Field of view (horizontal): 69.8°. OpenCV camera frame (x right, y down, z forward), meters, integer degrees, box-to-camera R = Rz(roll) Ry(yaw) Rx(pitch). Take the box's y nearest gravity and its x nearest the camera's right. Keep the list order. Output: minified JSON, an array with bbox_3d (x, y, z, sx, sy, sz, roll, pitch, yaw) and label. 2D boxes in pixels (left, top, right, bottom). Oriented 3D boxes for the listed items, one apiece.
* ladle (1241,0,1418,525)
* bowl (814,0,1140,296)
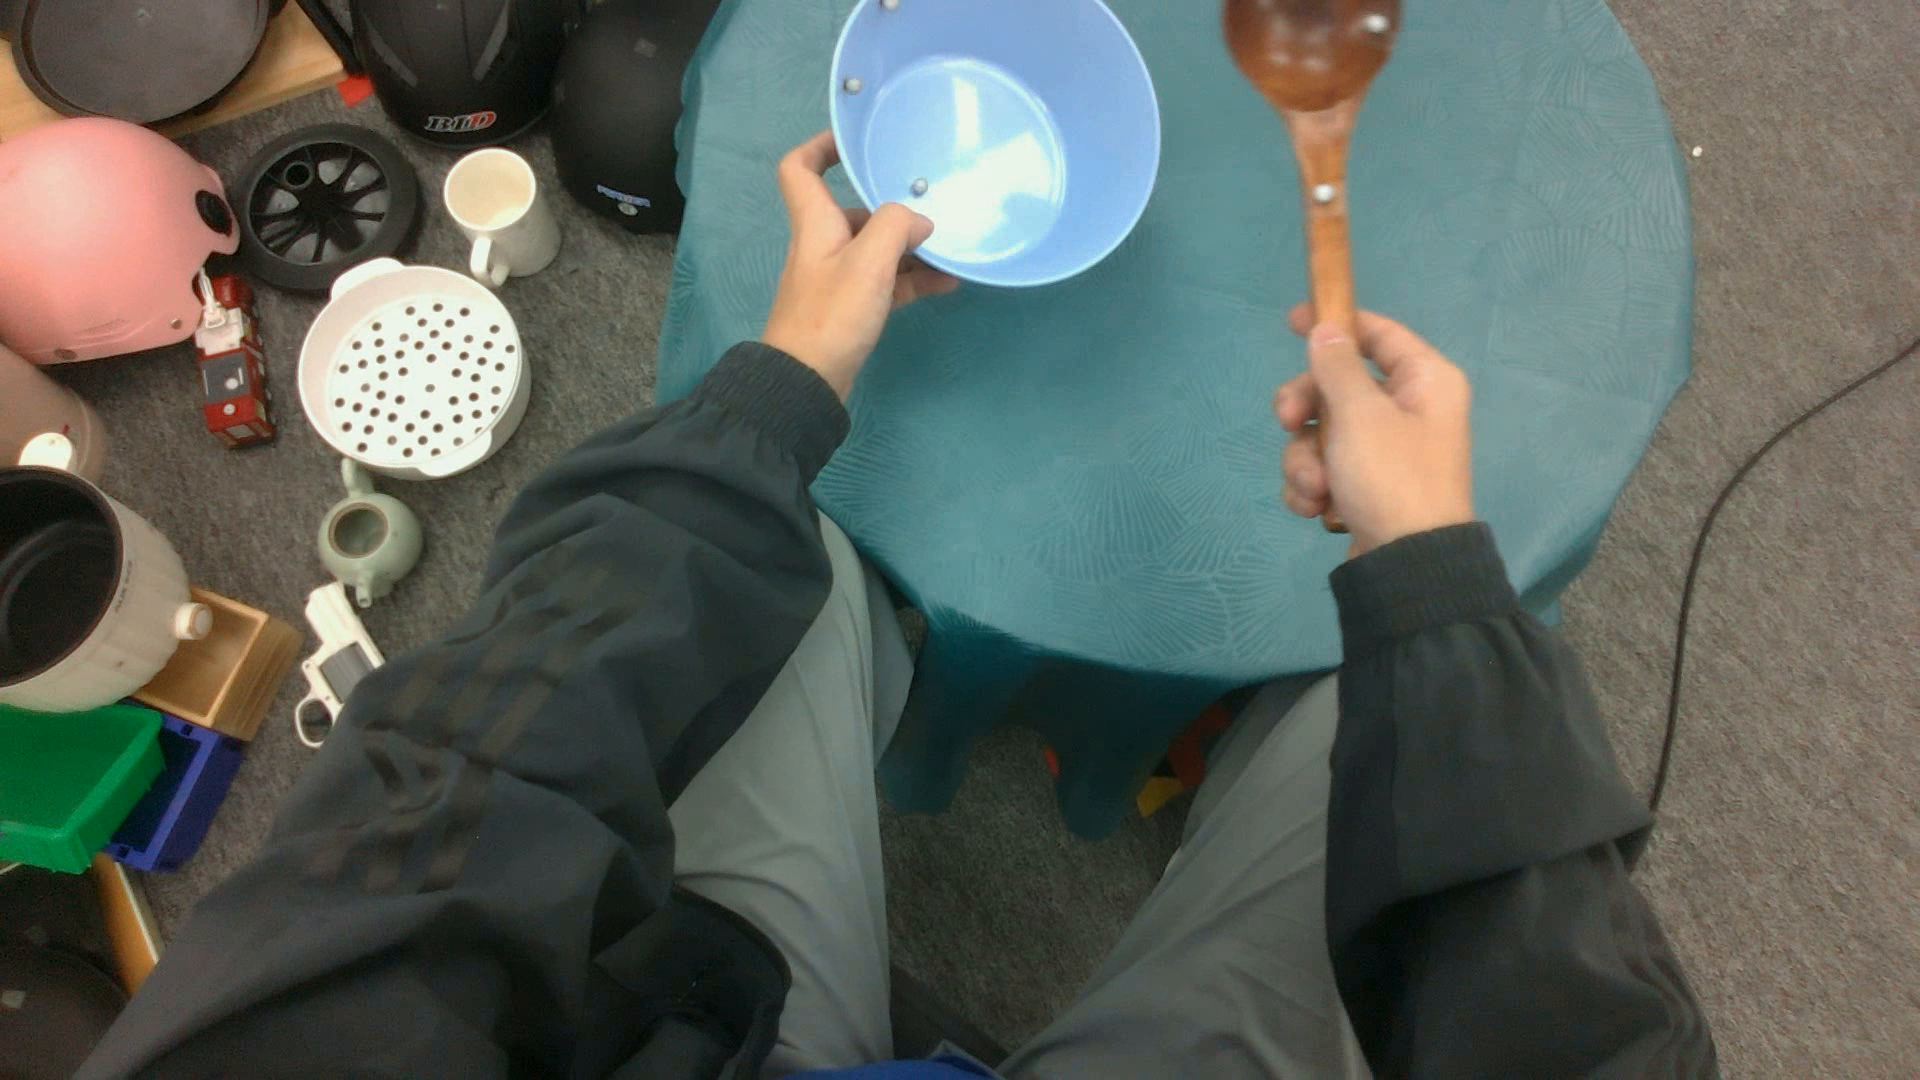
[{"bbox_3d":[0.169,-0.147,0.629,0.082,0.076,0.275,-4,70,24],"label":"ladle"},{"bbox_3d":[0.003,-0.208,0.741,0.176,0.070,0.176,2,82,-16],"label":"bowl"}]
